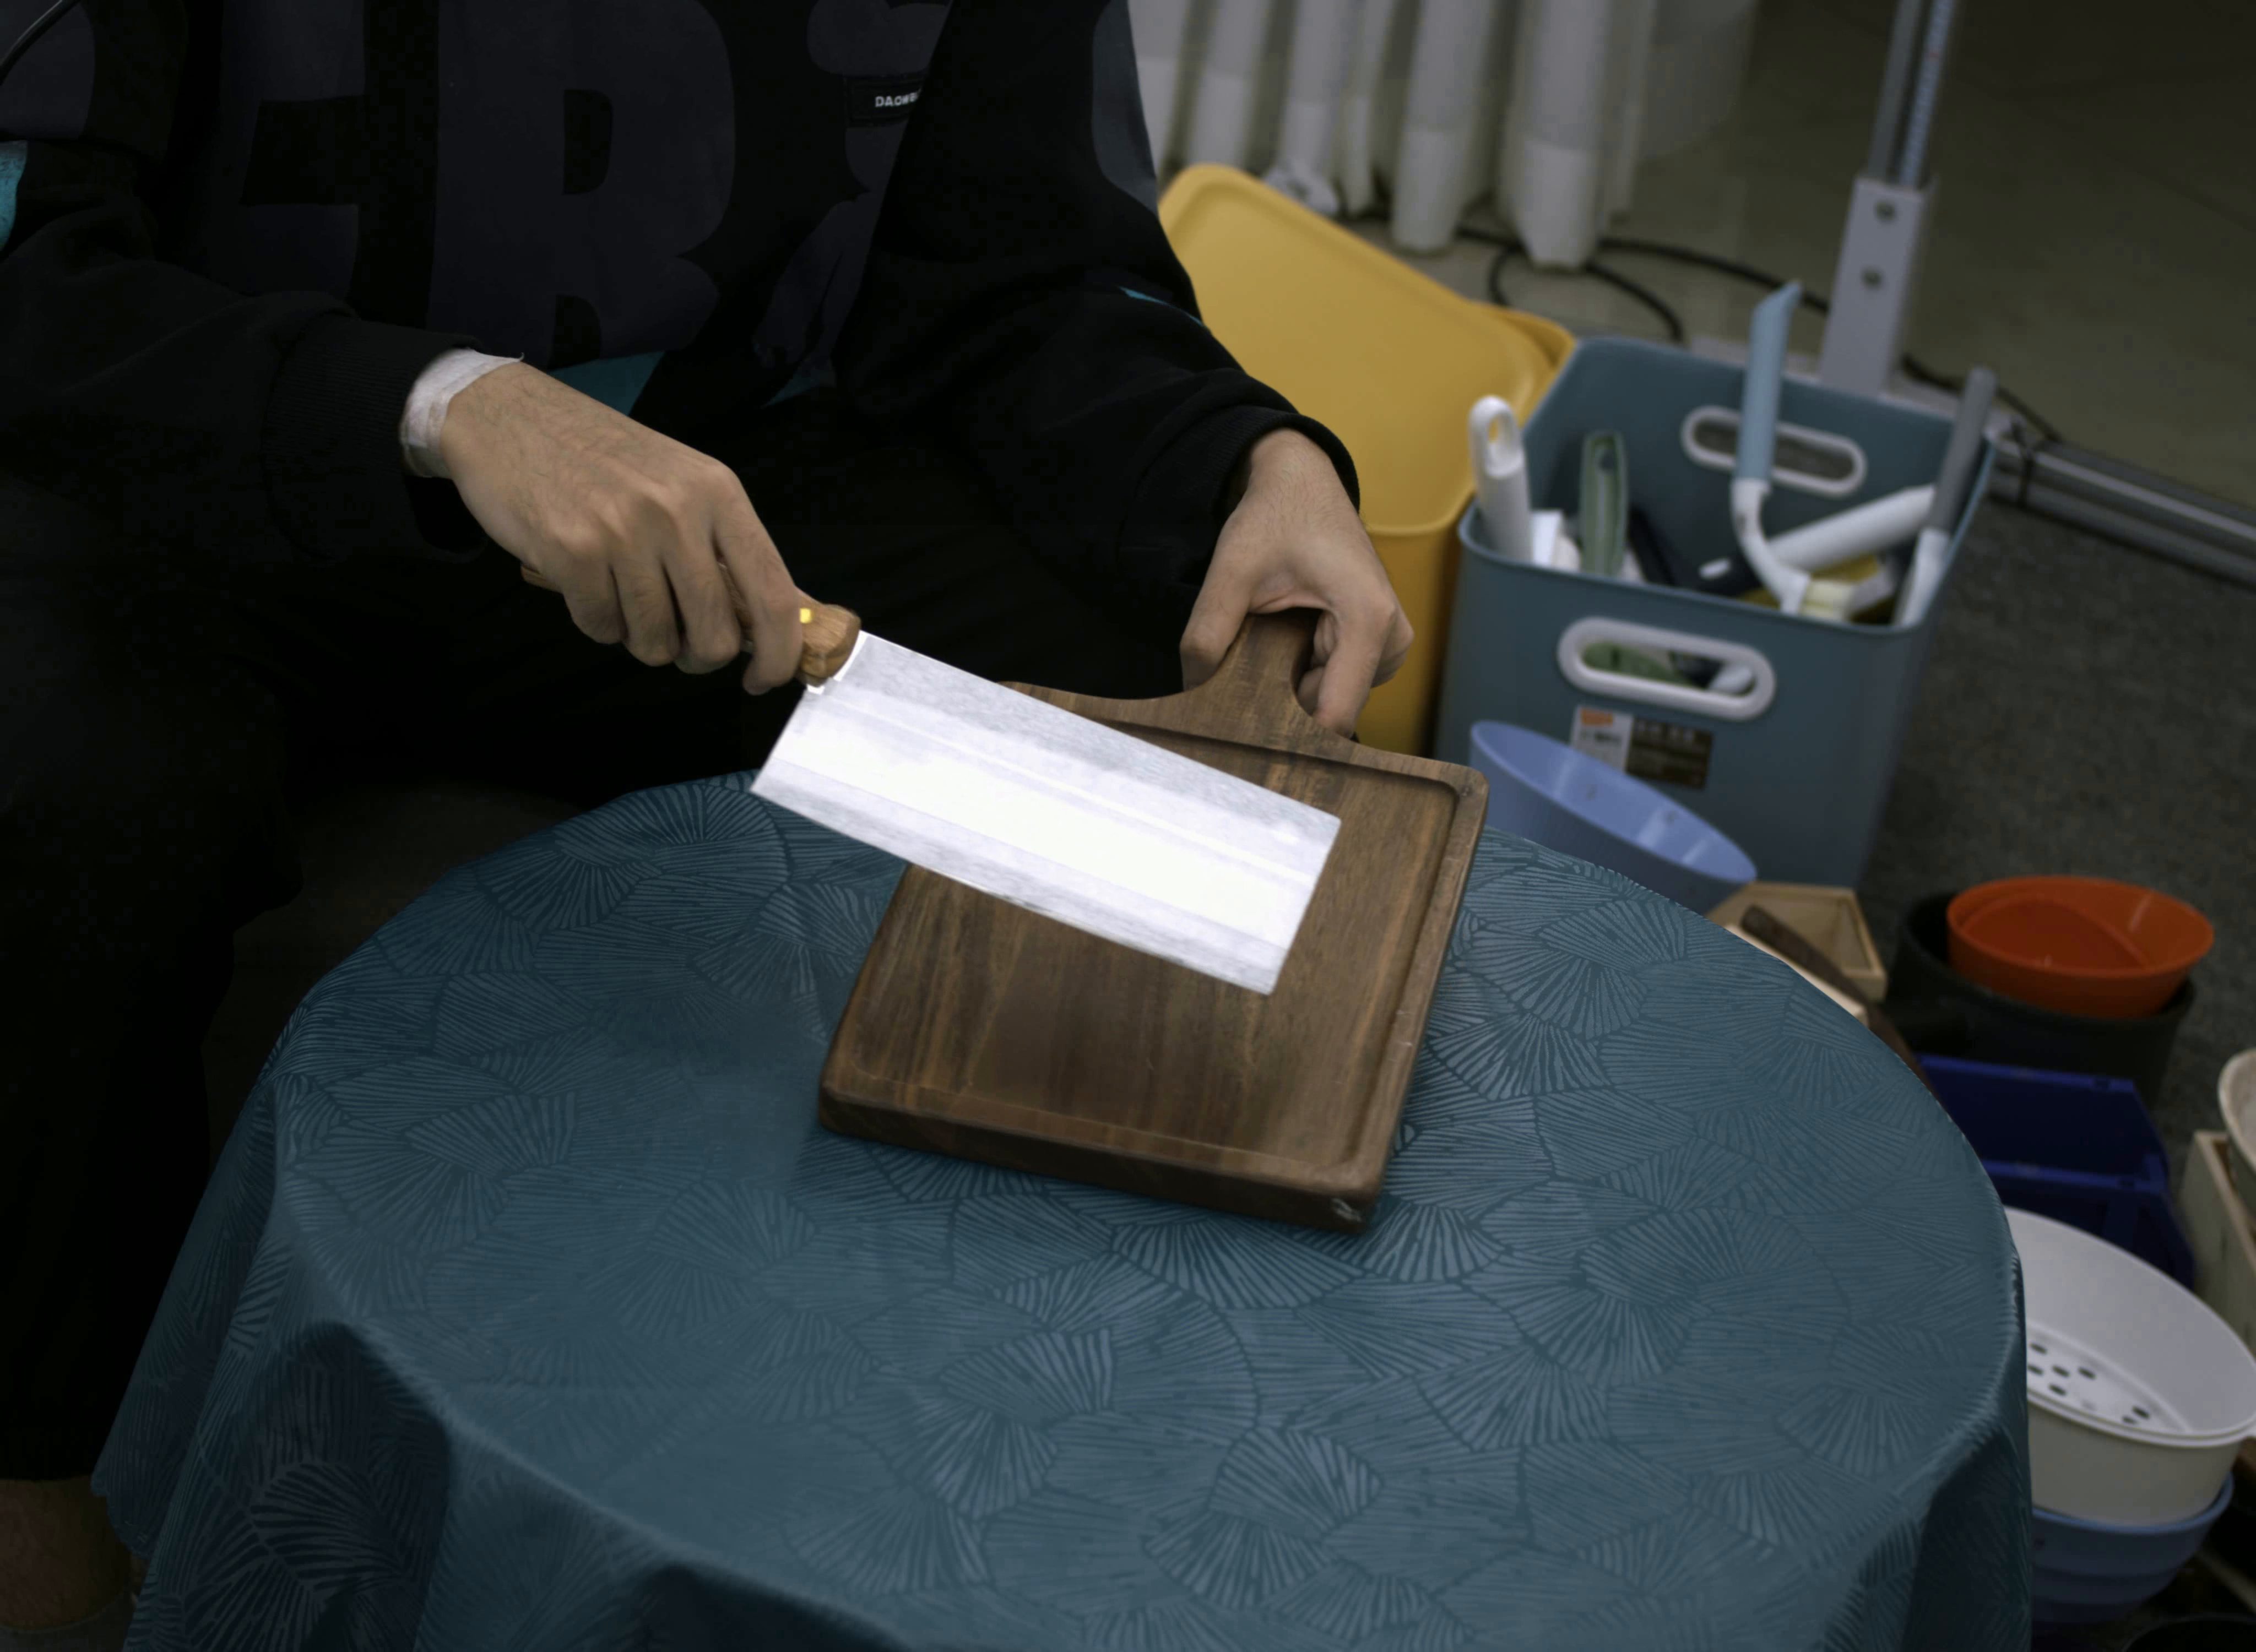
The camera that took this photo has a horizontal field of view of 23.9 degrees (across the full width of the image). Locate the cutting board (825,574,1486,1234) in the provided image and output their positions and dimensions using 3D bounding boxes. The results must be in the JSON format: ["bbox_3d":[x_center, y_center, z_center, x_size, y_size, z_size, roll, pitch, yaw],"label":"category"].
[{"bbox_3d":[0.024,0.013,1.932,0.201,0.023,0.354,10,38,7],"label":"cutting board"}]

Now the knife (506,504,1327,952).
[{"bbox_3d":[-0.081,-0.030,1.830,0.305,0.021,0.093,21,48,5],"label":"knife"}]
